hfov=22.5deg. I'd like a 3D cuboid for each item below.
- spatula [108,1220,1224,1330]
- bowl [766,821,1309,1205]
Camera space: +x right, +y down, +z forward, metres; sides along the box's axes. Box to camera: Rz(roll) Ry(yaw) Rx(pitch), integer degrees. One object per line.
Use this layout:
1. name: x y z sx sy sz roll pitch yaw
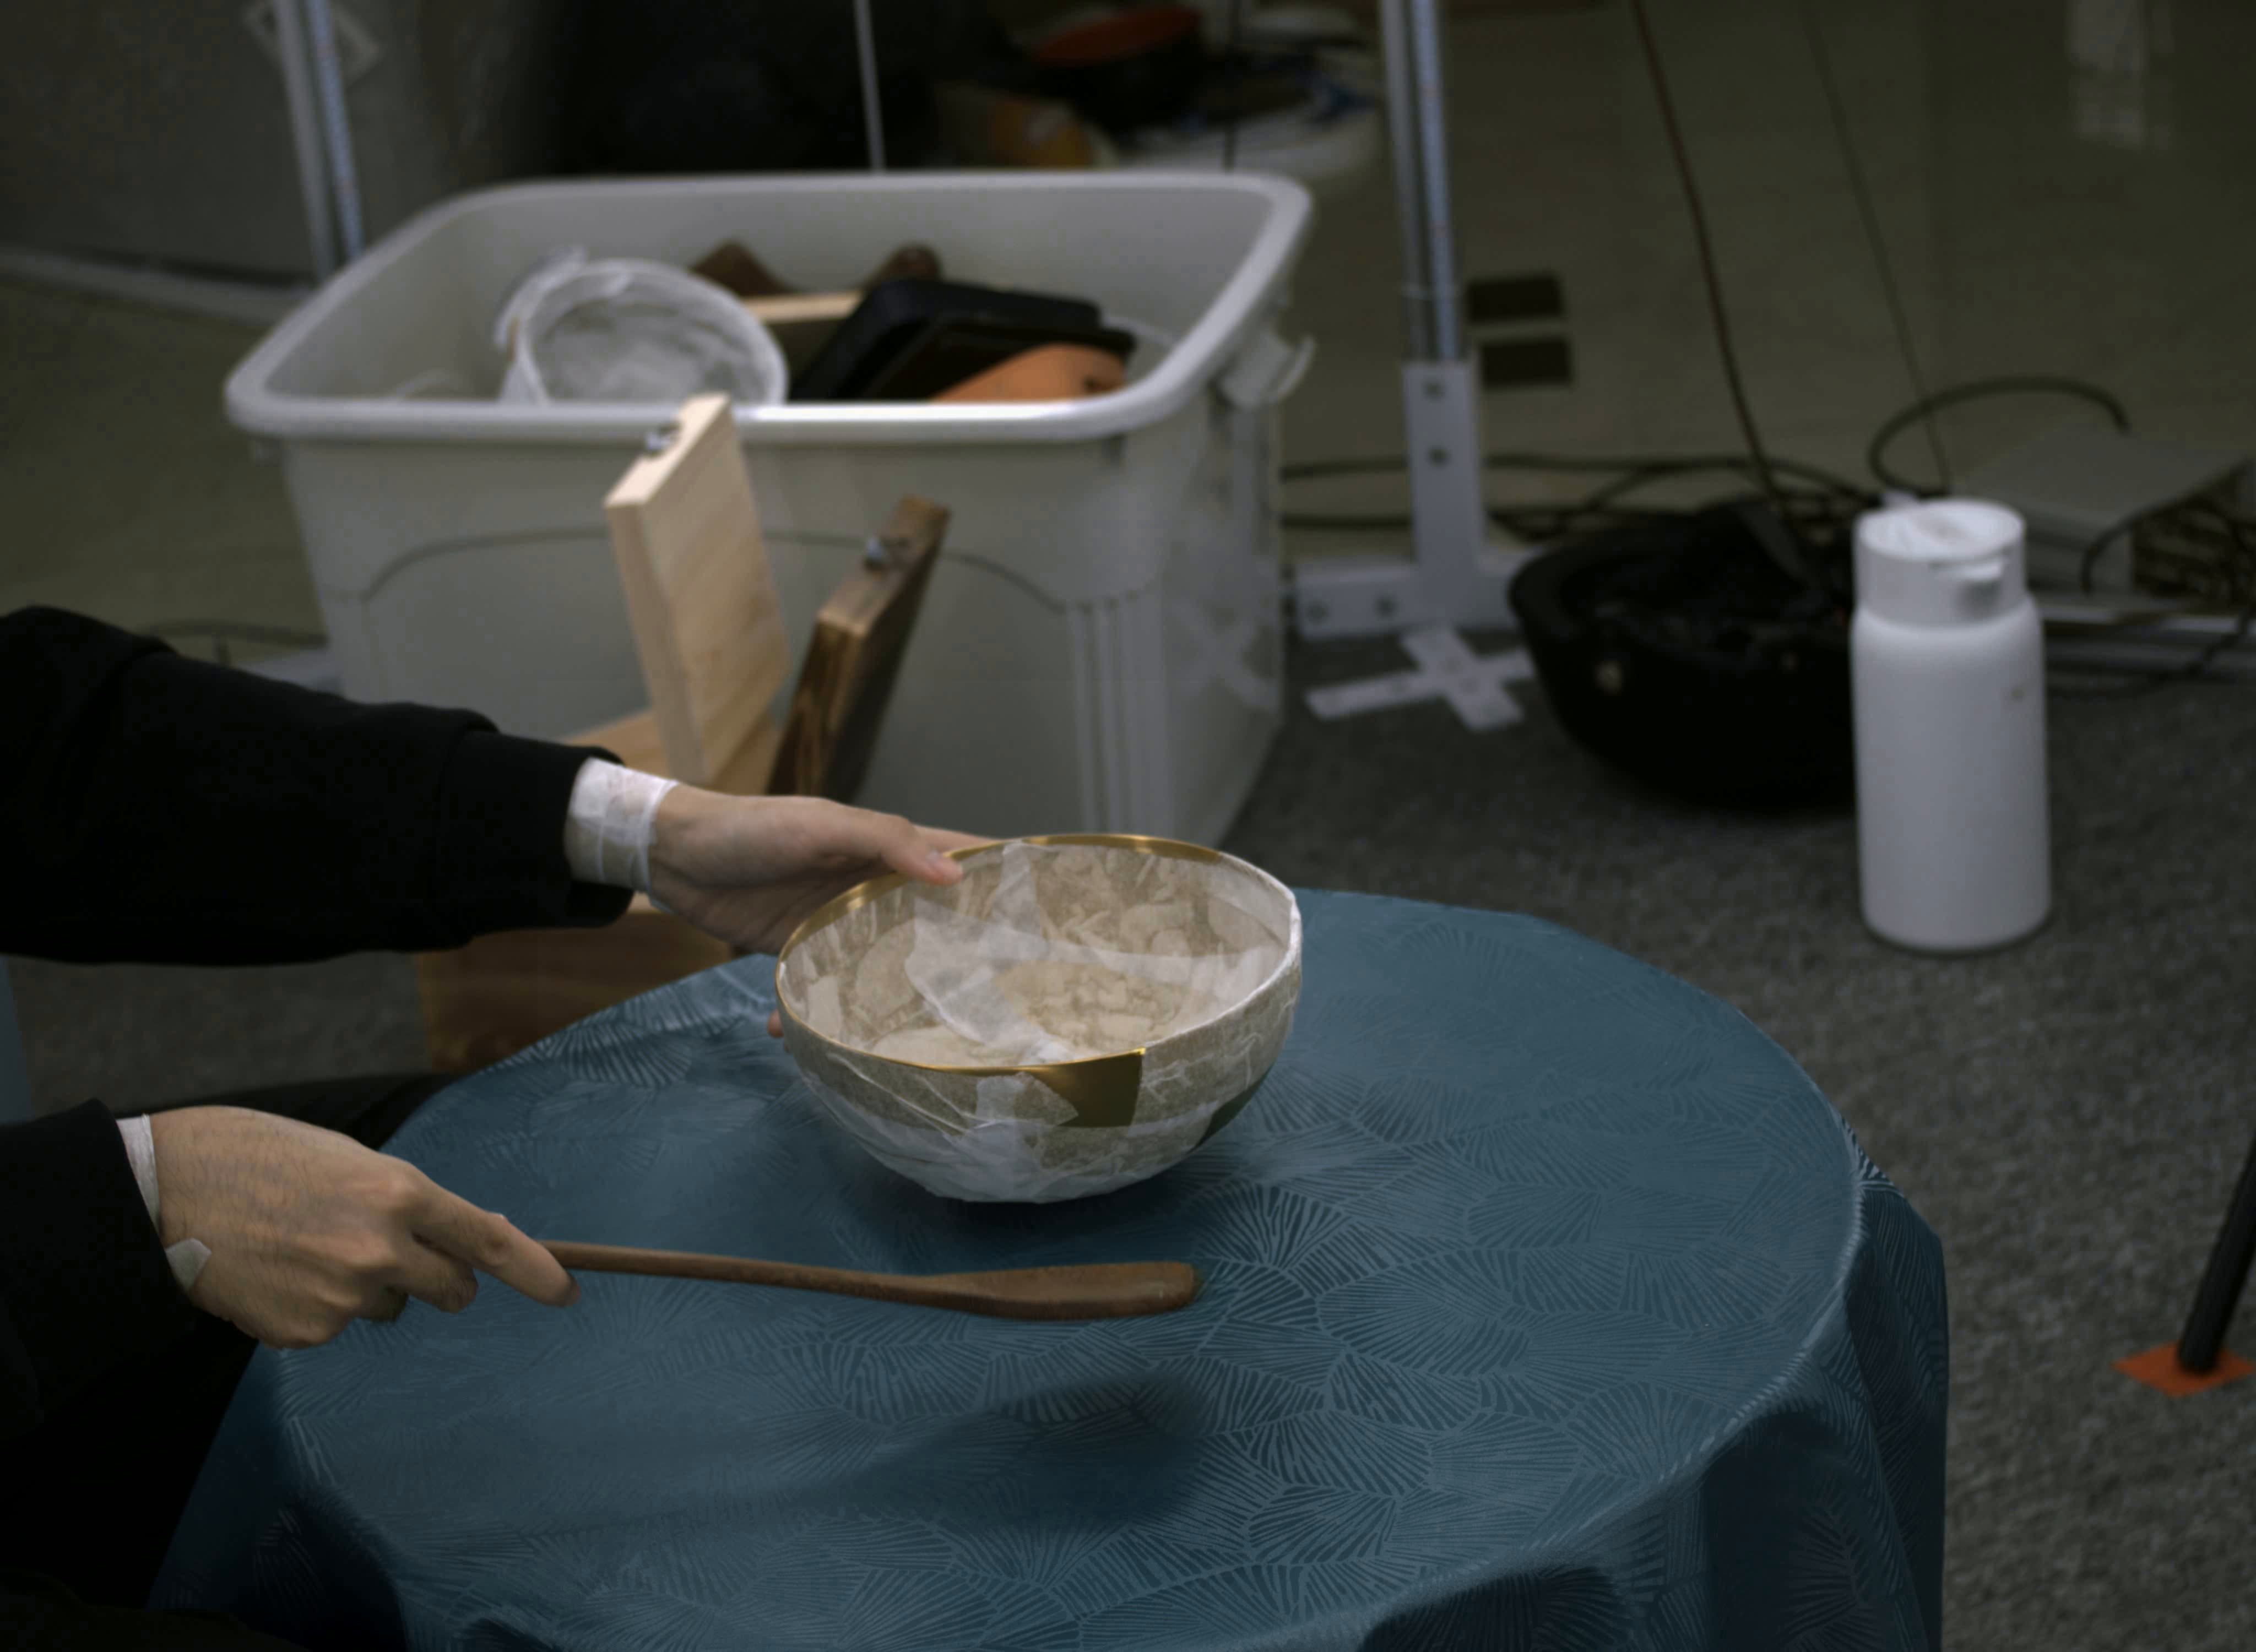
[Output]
1. spatula: -0.159 0.153 1.964 0.385 0.016 0.096 5 3 -5
2. bowl: -0.031 0.084 2.166 0.214 0.096 0.211 -6 26 3
